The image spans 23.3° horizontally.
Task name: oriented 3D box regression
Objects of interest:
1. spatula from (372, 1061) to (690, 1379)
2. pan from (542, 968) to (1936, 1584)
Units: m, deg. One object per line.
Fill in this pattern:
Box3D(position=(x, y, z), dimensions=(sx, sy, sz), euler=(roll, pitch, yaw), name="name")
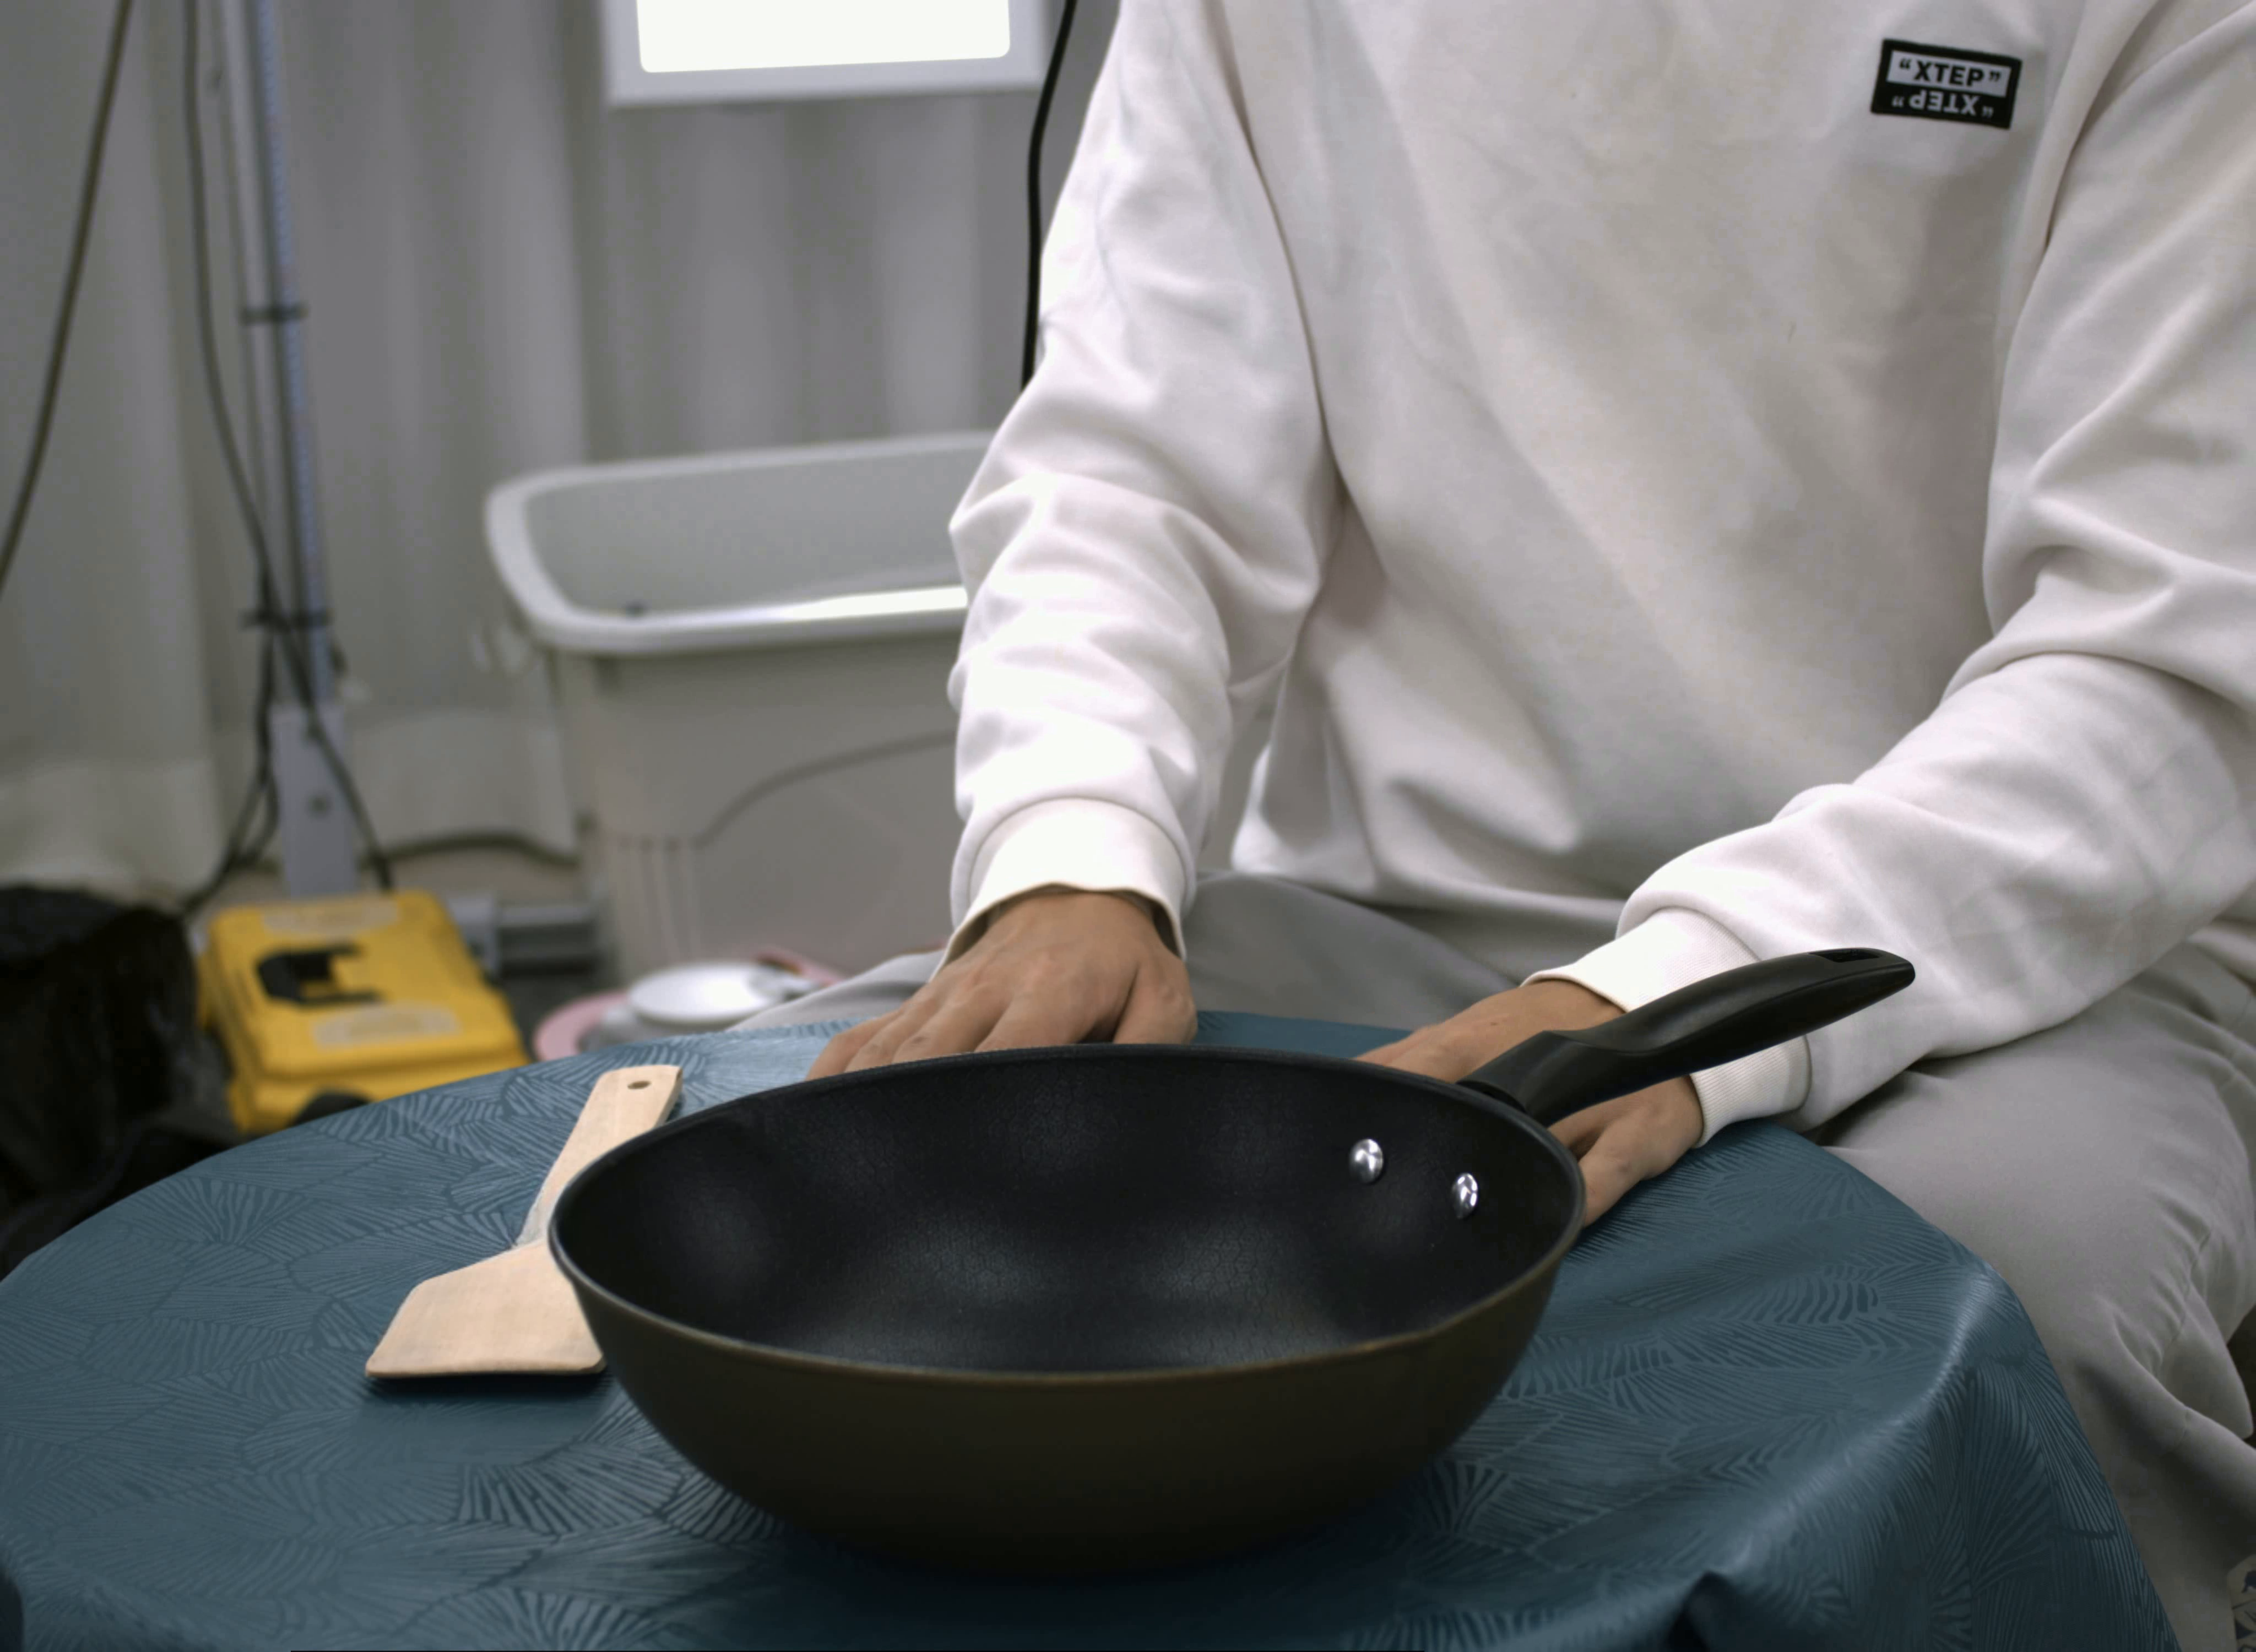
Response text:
Box3D(position=(-0.173, 0.121, 1.708), dimensions=(0.072, 0.010, 0.295), euler=(-3, 15, 5), name="spatula")
Box3D(position=(0.054, 0.120, 1.531), dimensions=(0.462, 0.086, 0.290), euler=(-13, 19, -37), name="pan")
